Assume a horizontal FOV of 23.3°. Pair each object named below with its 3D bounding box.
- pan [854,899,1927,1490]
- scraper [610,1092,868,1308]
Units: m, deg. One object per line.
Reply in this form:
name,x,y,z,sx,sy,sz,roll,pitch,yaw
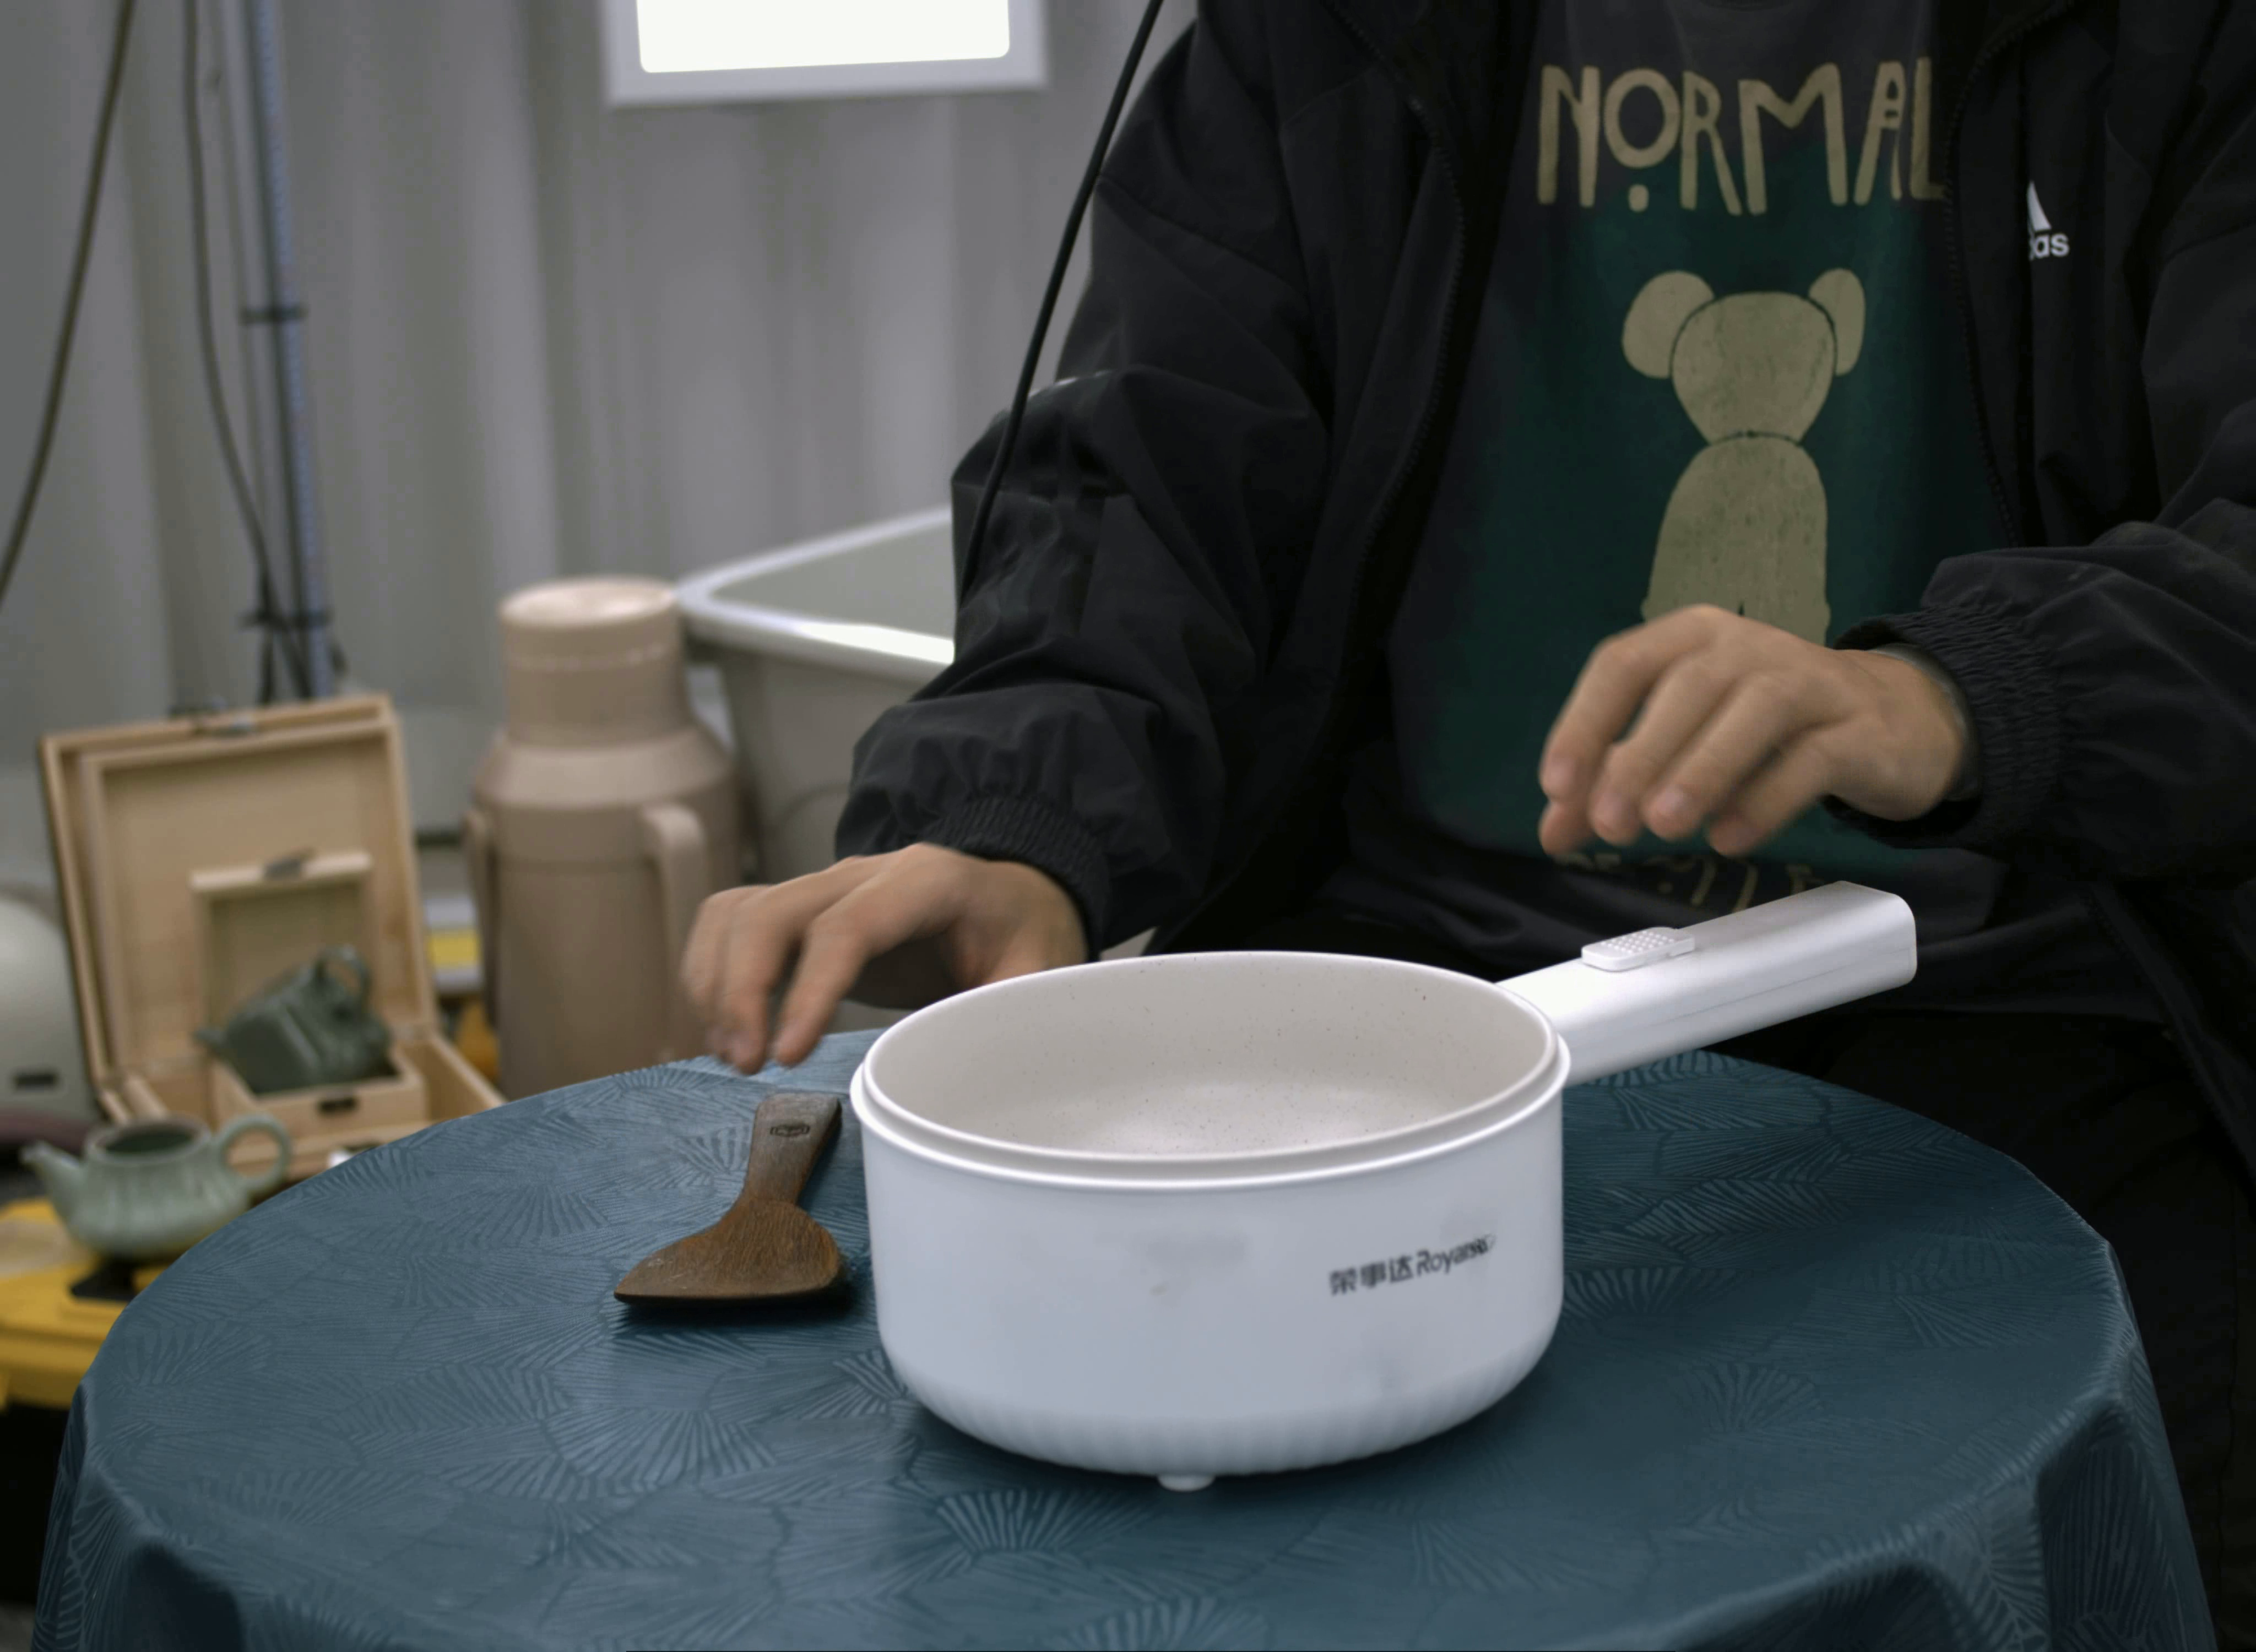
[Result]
pan,0.087,0.099,1.575,0.353,0.102,0.202,-11,16,-34
scraper,-0.112,0.117,1.712,0.075,0.011,0.212,-1,14,3
